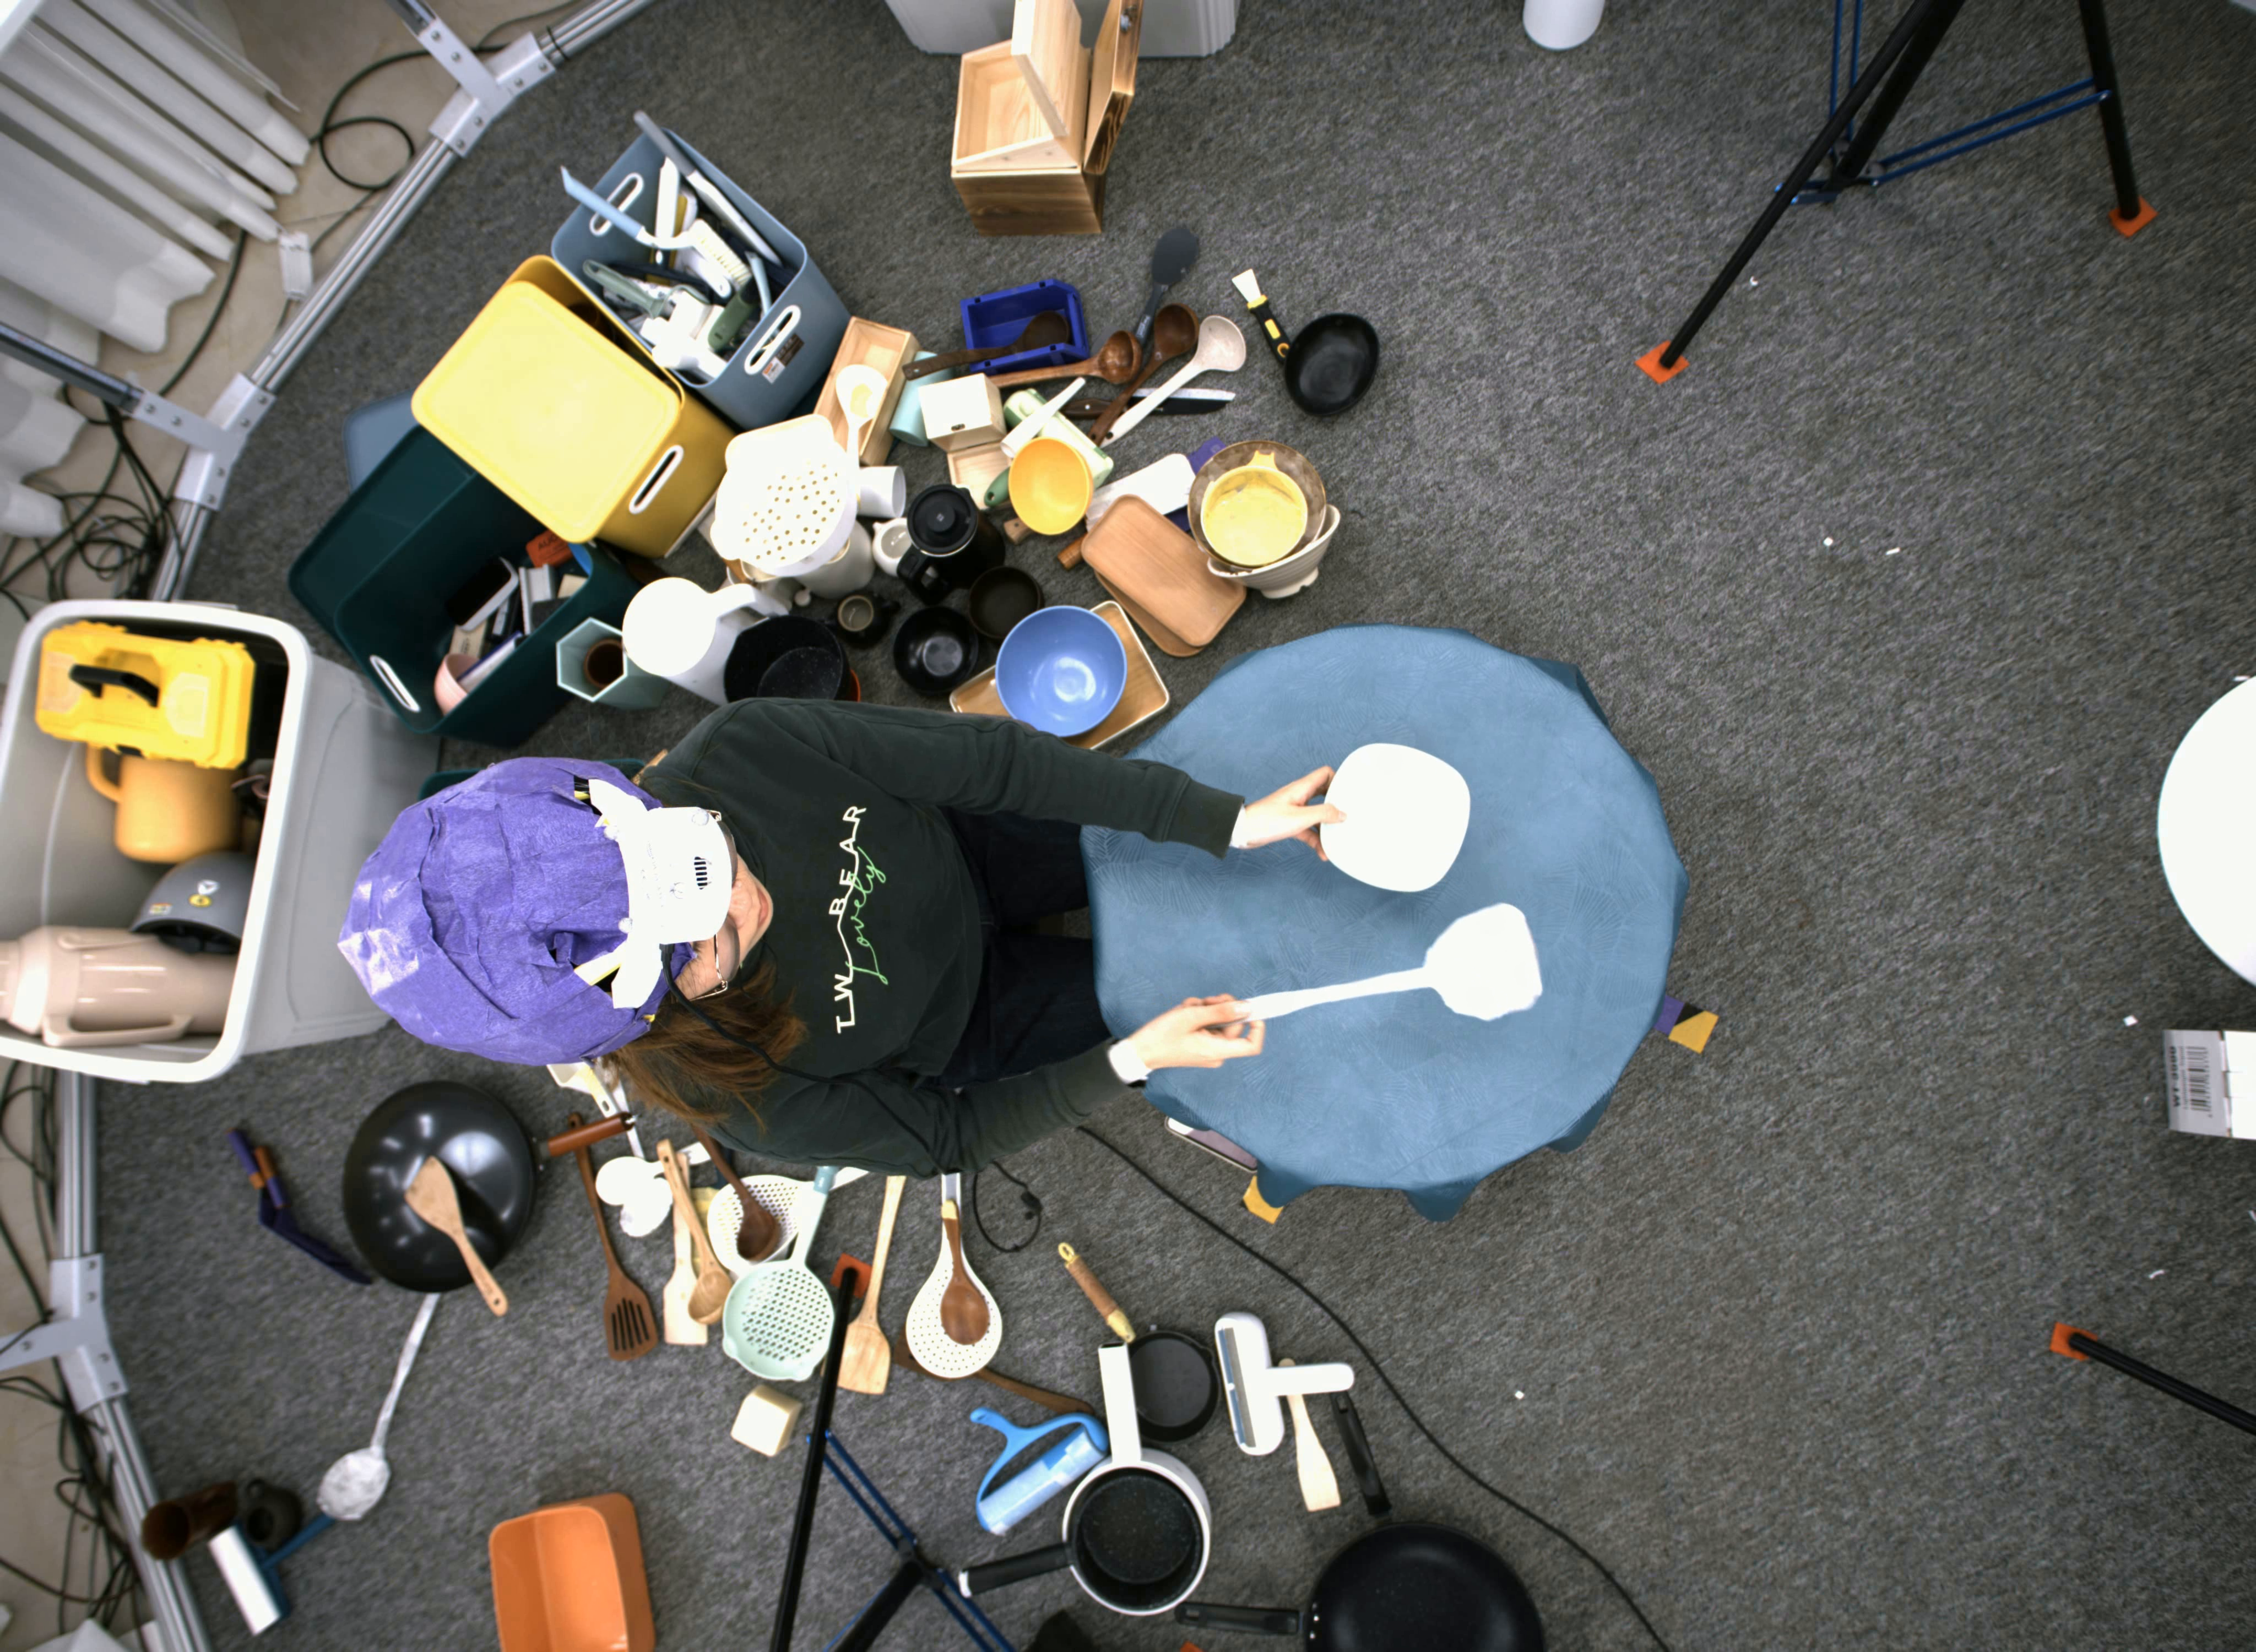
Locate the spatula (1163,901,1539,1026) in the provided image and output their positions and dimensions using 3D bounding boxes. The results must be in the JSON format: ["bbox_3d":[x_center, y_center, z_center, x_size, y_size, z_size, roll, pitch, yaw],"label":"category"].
[{"bbox_3d":[0.202,0.150,1.308,0.368,0.045,0.097,-13,76,16],"label":"spatula"}]

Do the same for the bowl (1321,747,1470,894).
[{"bbox_3d":[0.266,-0.006,1.373,0.152,0.058,0.151,0,92,11],"label":"bowl"}]
